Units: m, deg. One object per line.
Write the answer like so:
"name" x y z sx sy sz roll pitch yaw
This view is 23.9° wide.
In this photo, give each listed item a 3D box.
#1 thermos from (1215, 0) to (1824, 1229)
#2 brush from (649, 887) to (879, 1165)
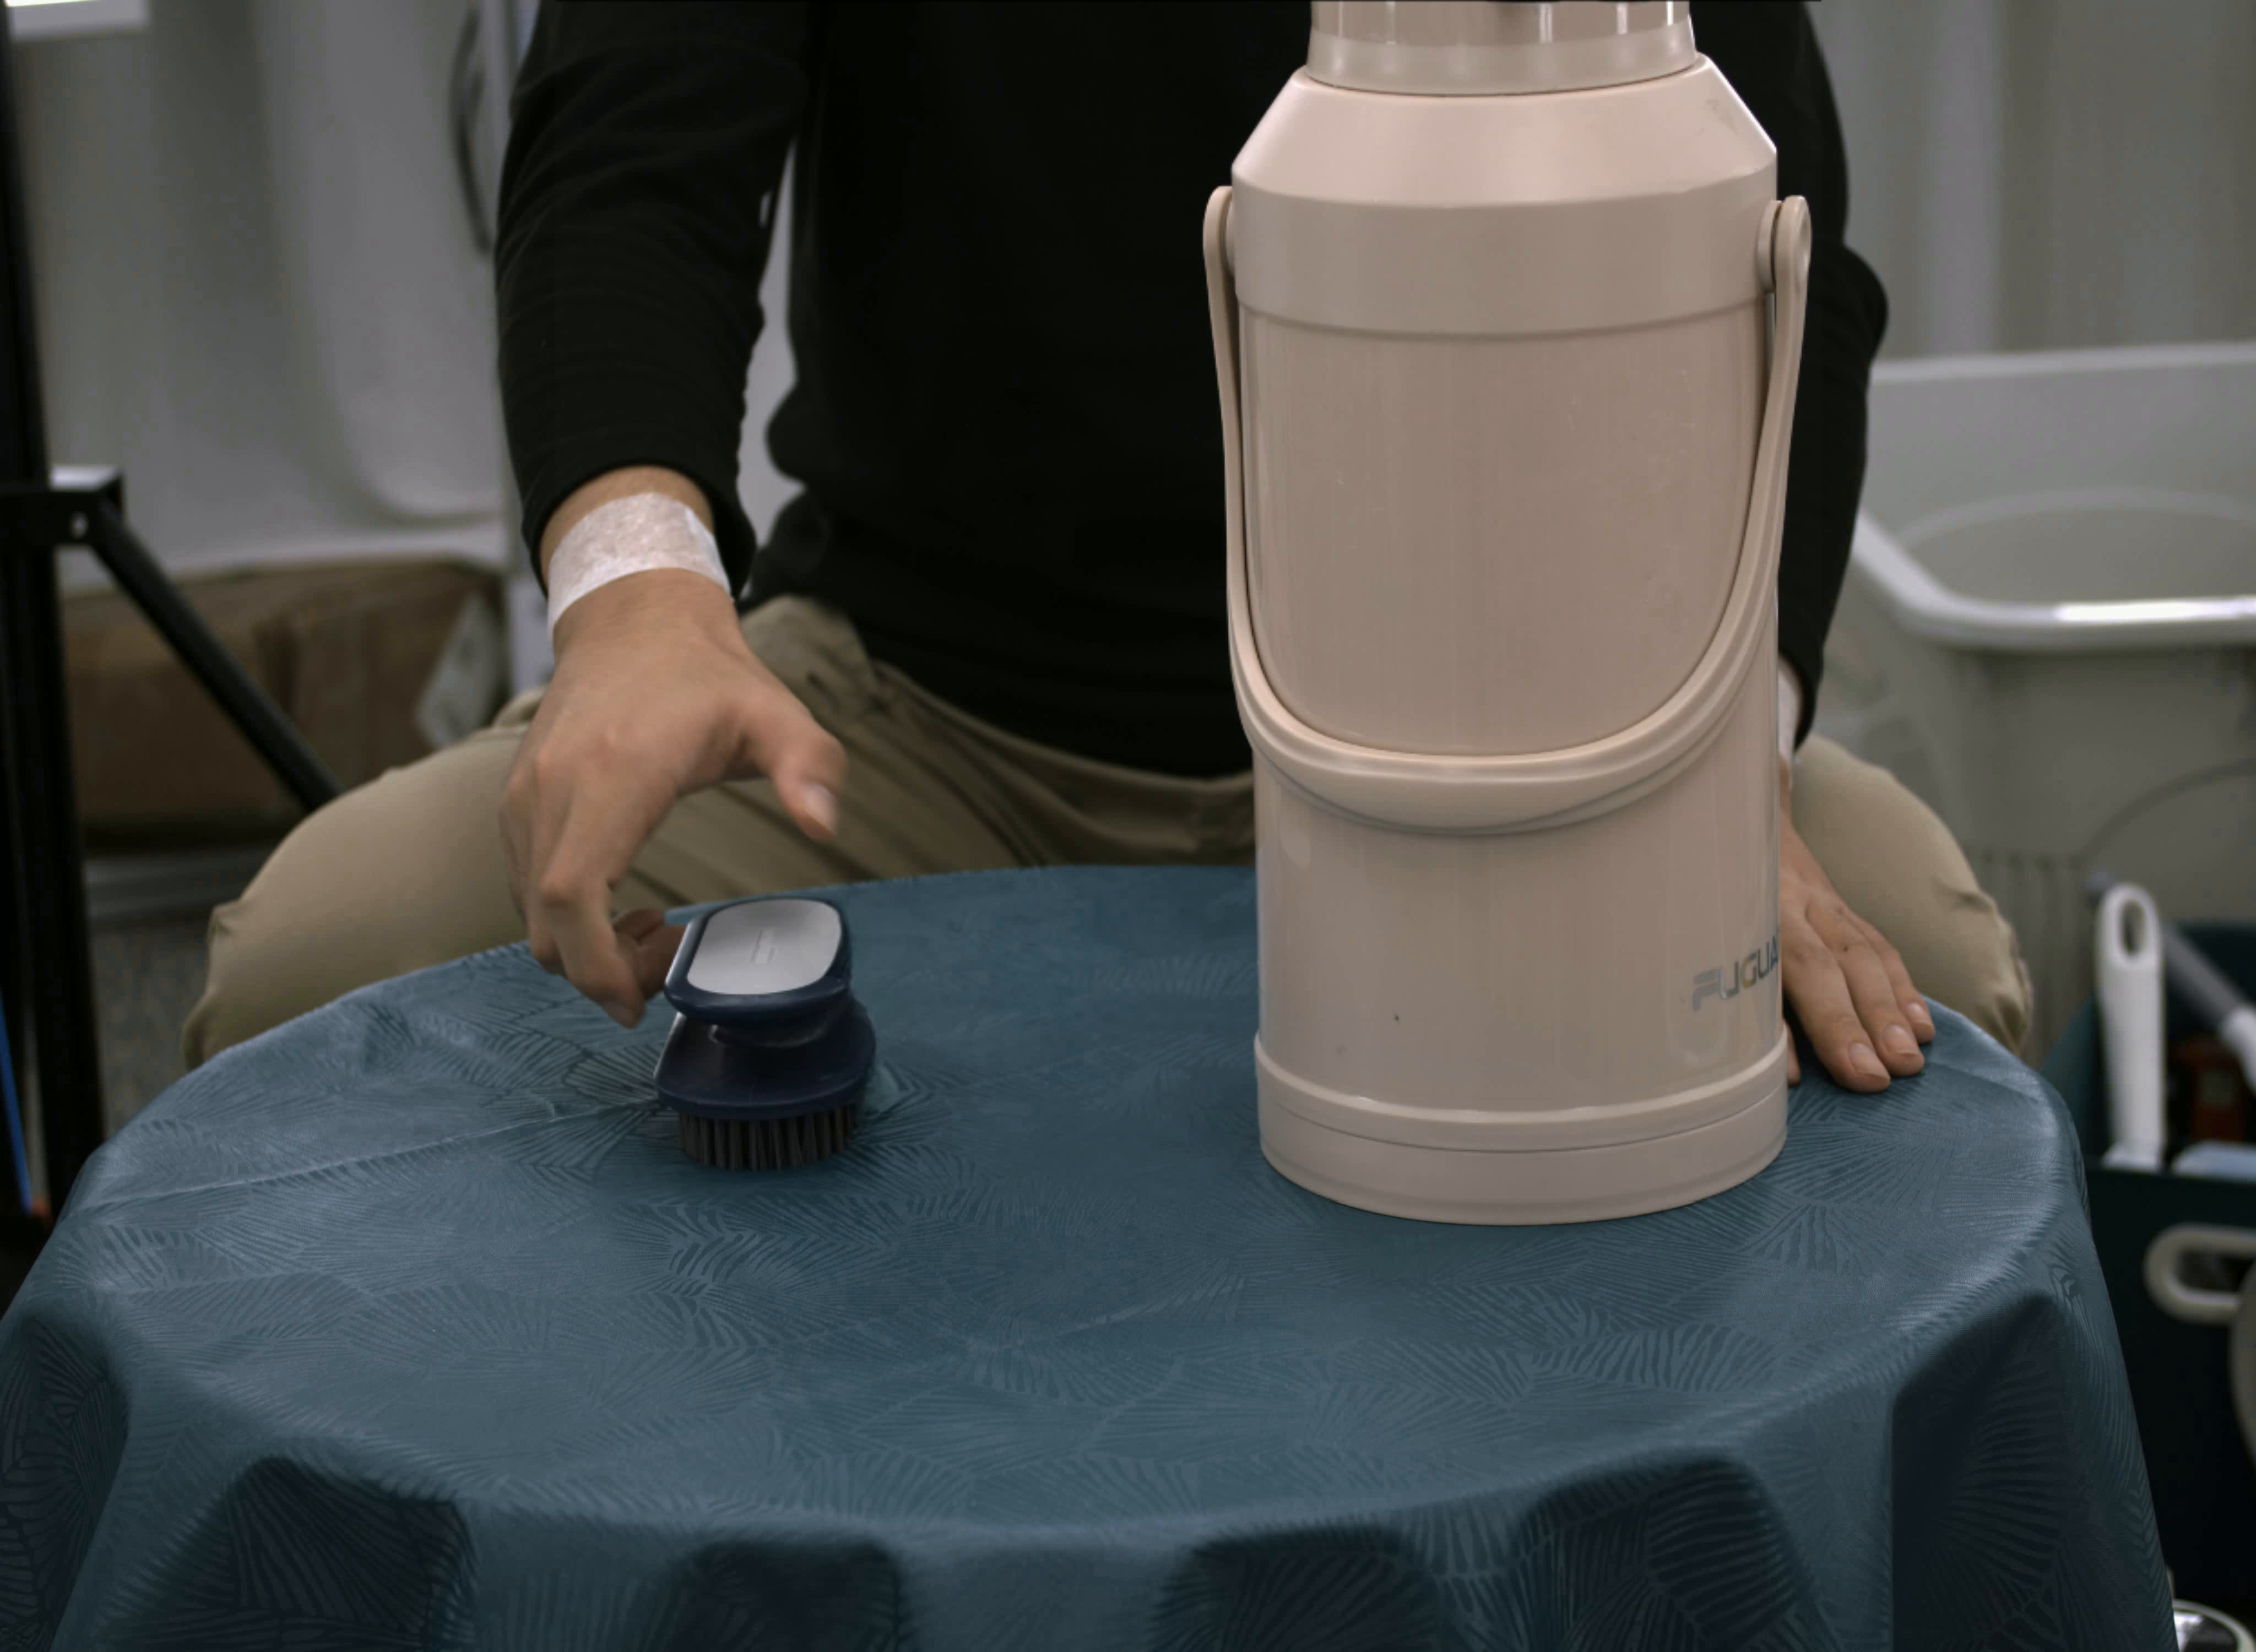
"thermos" 0.120 -0.101 1.550 0.177 0.406 0.205 2 16 20
"brush" -0.111 0.063 1.634 0.068 0.061 0.121 2 16 4
